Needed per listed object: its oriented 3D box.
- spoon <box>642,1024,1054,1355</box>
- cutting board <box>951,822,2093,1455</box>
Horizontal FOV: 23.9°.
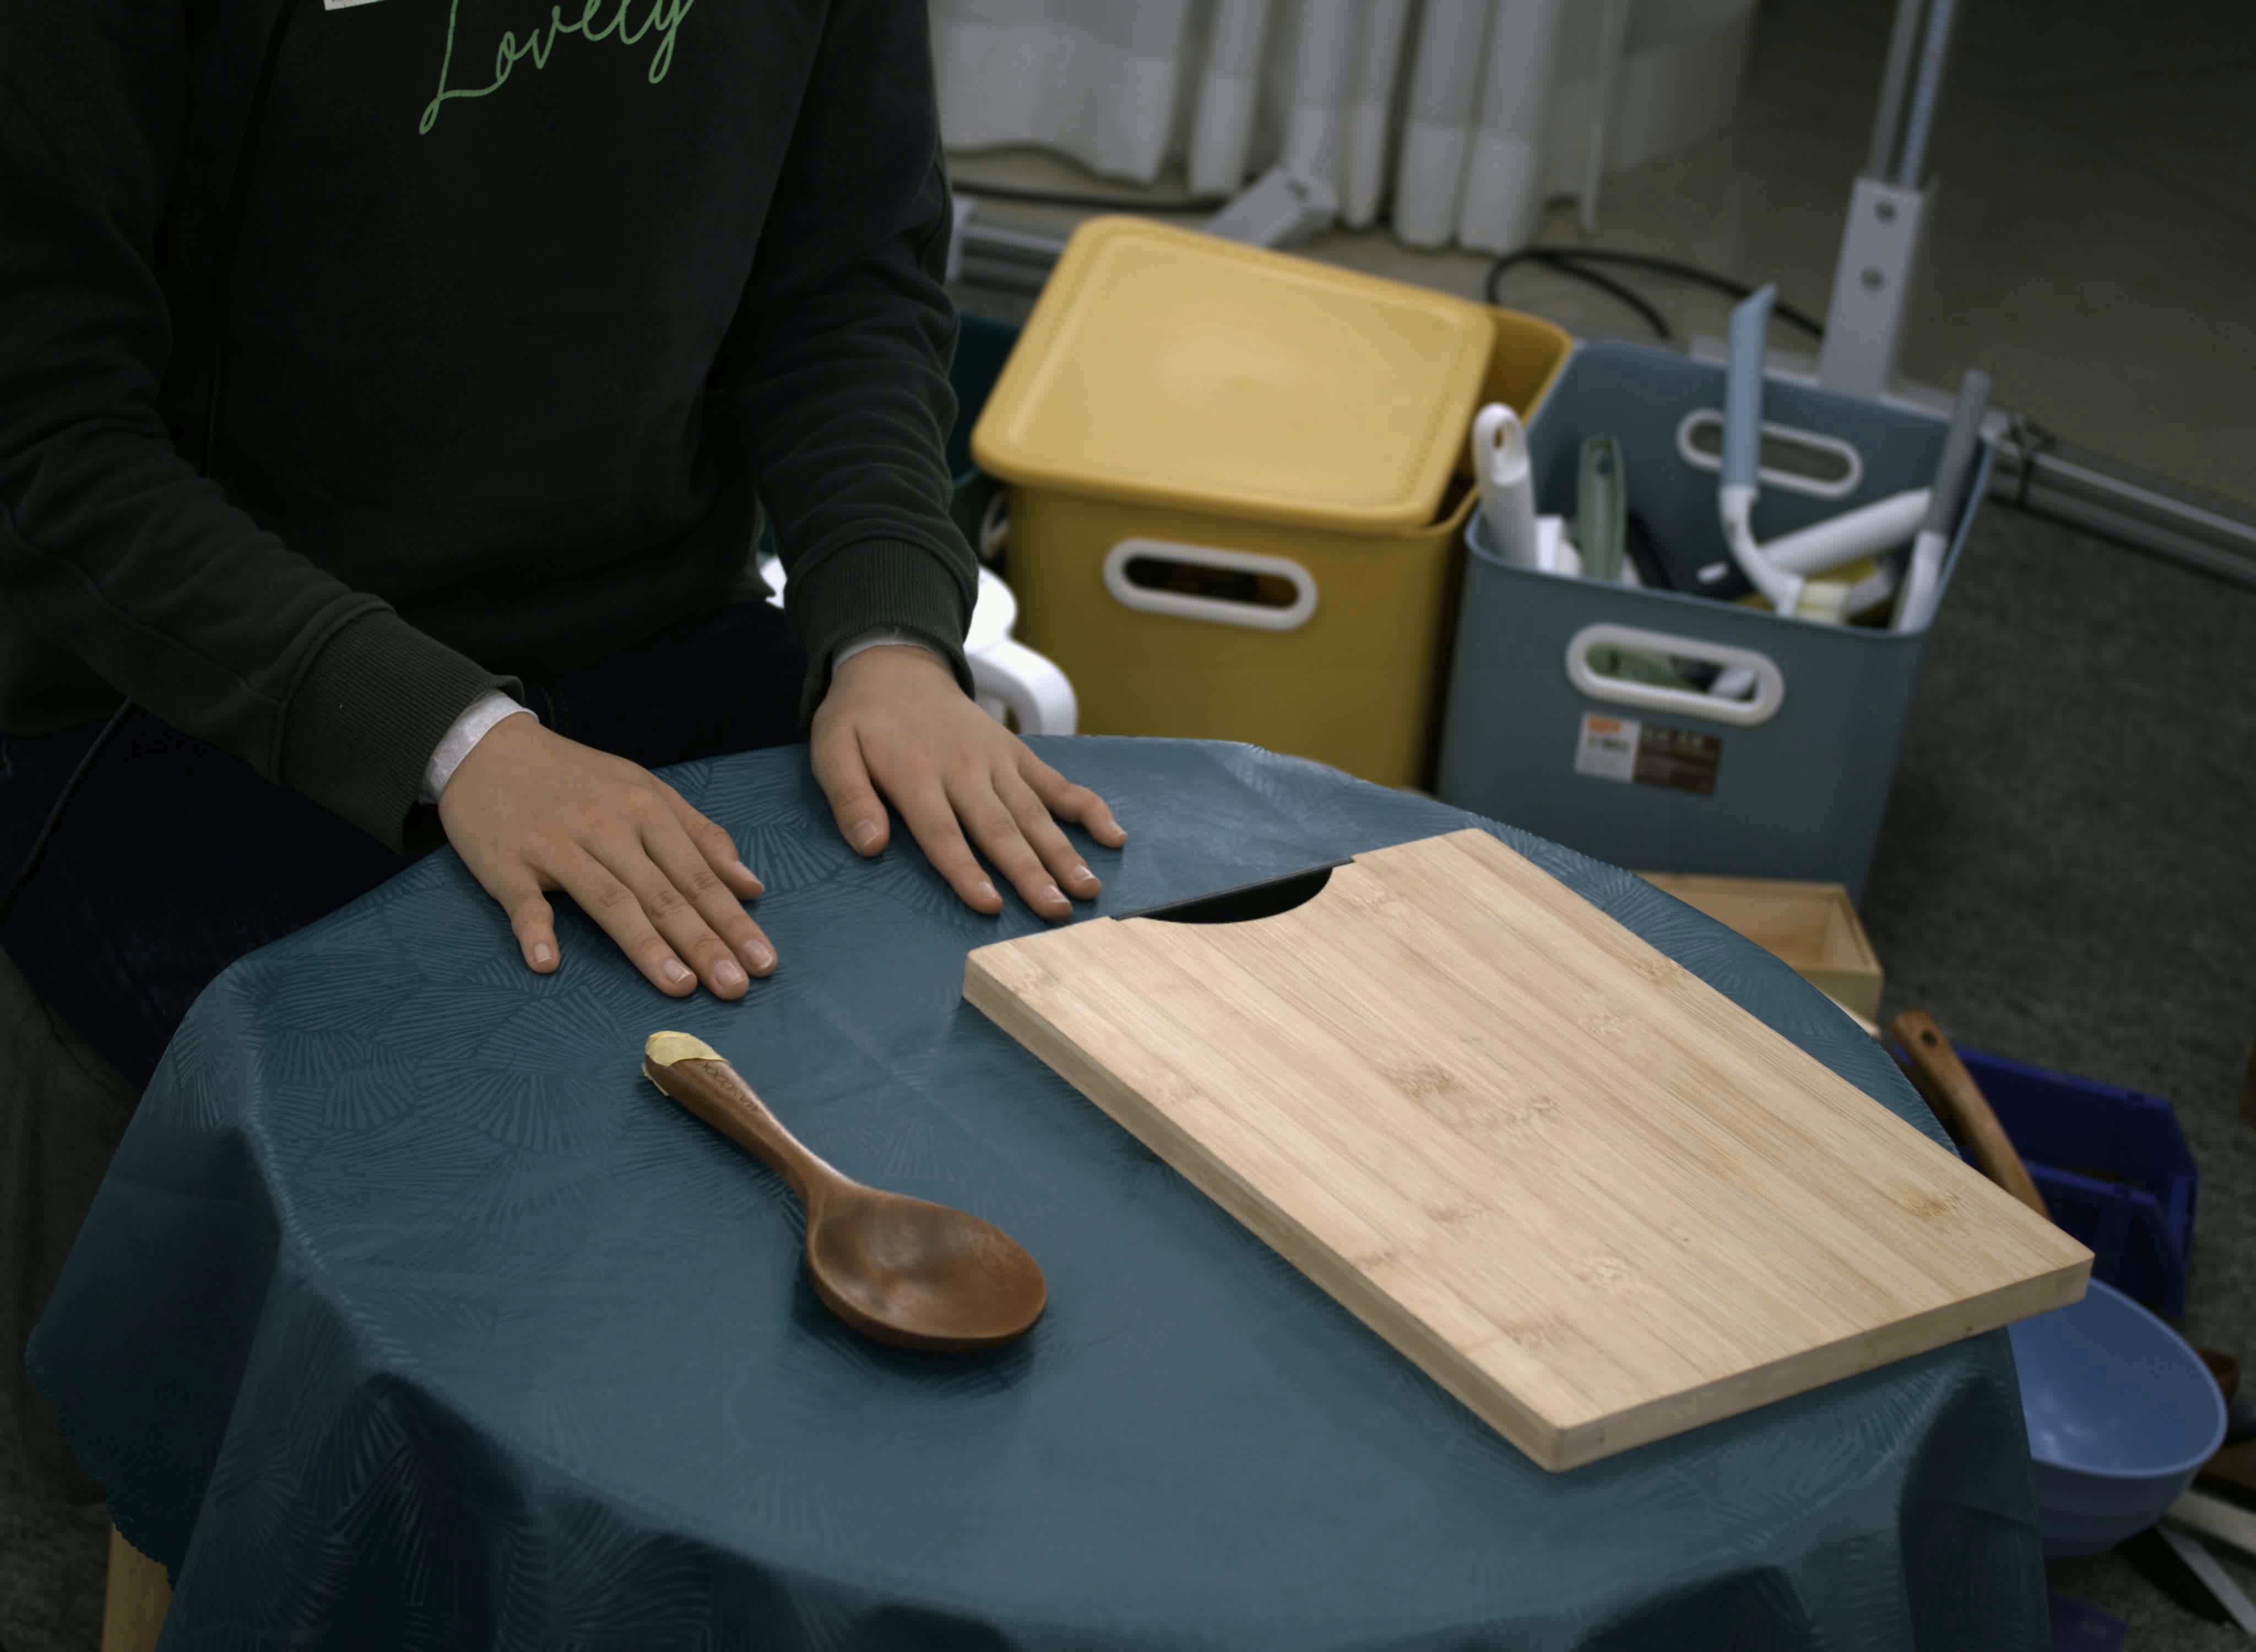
[{"bbox_3d":[-0.100,0.121,1.764,0.075,0.017,0.218,-13,33,-32],"label":"spoon"},{"bbox_3d":[0.131,0.101,1.857,0.249,0.023,0.352,-13,32,-34],"label":"cutting board"}]
